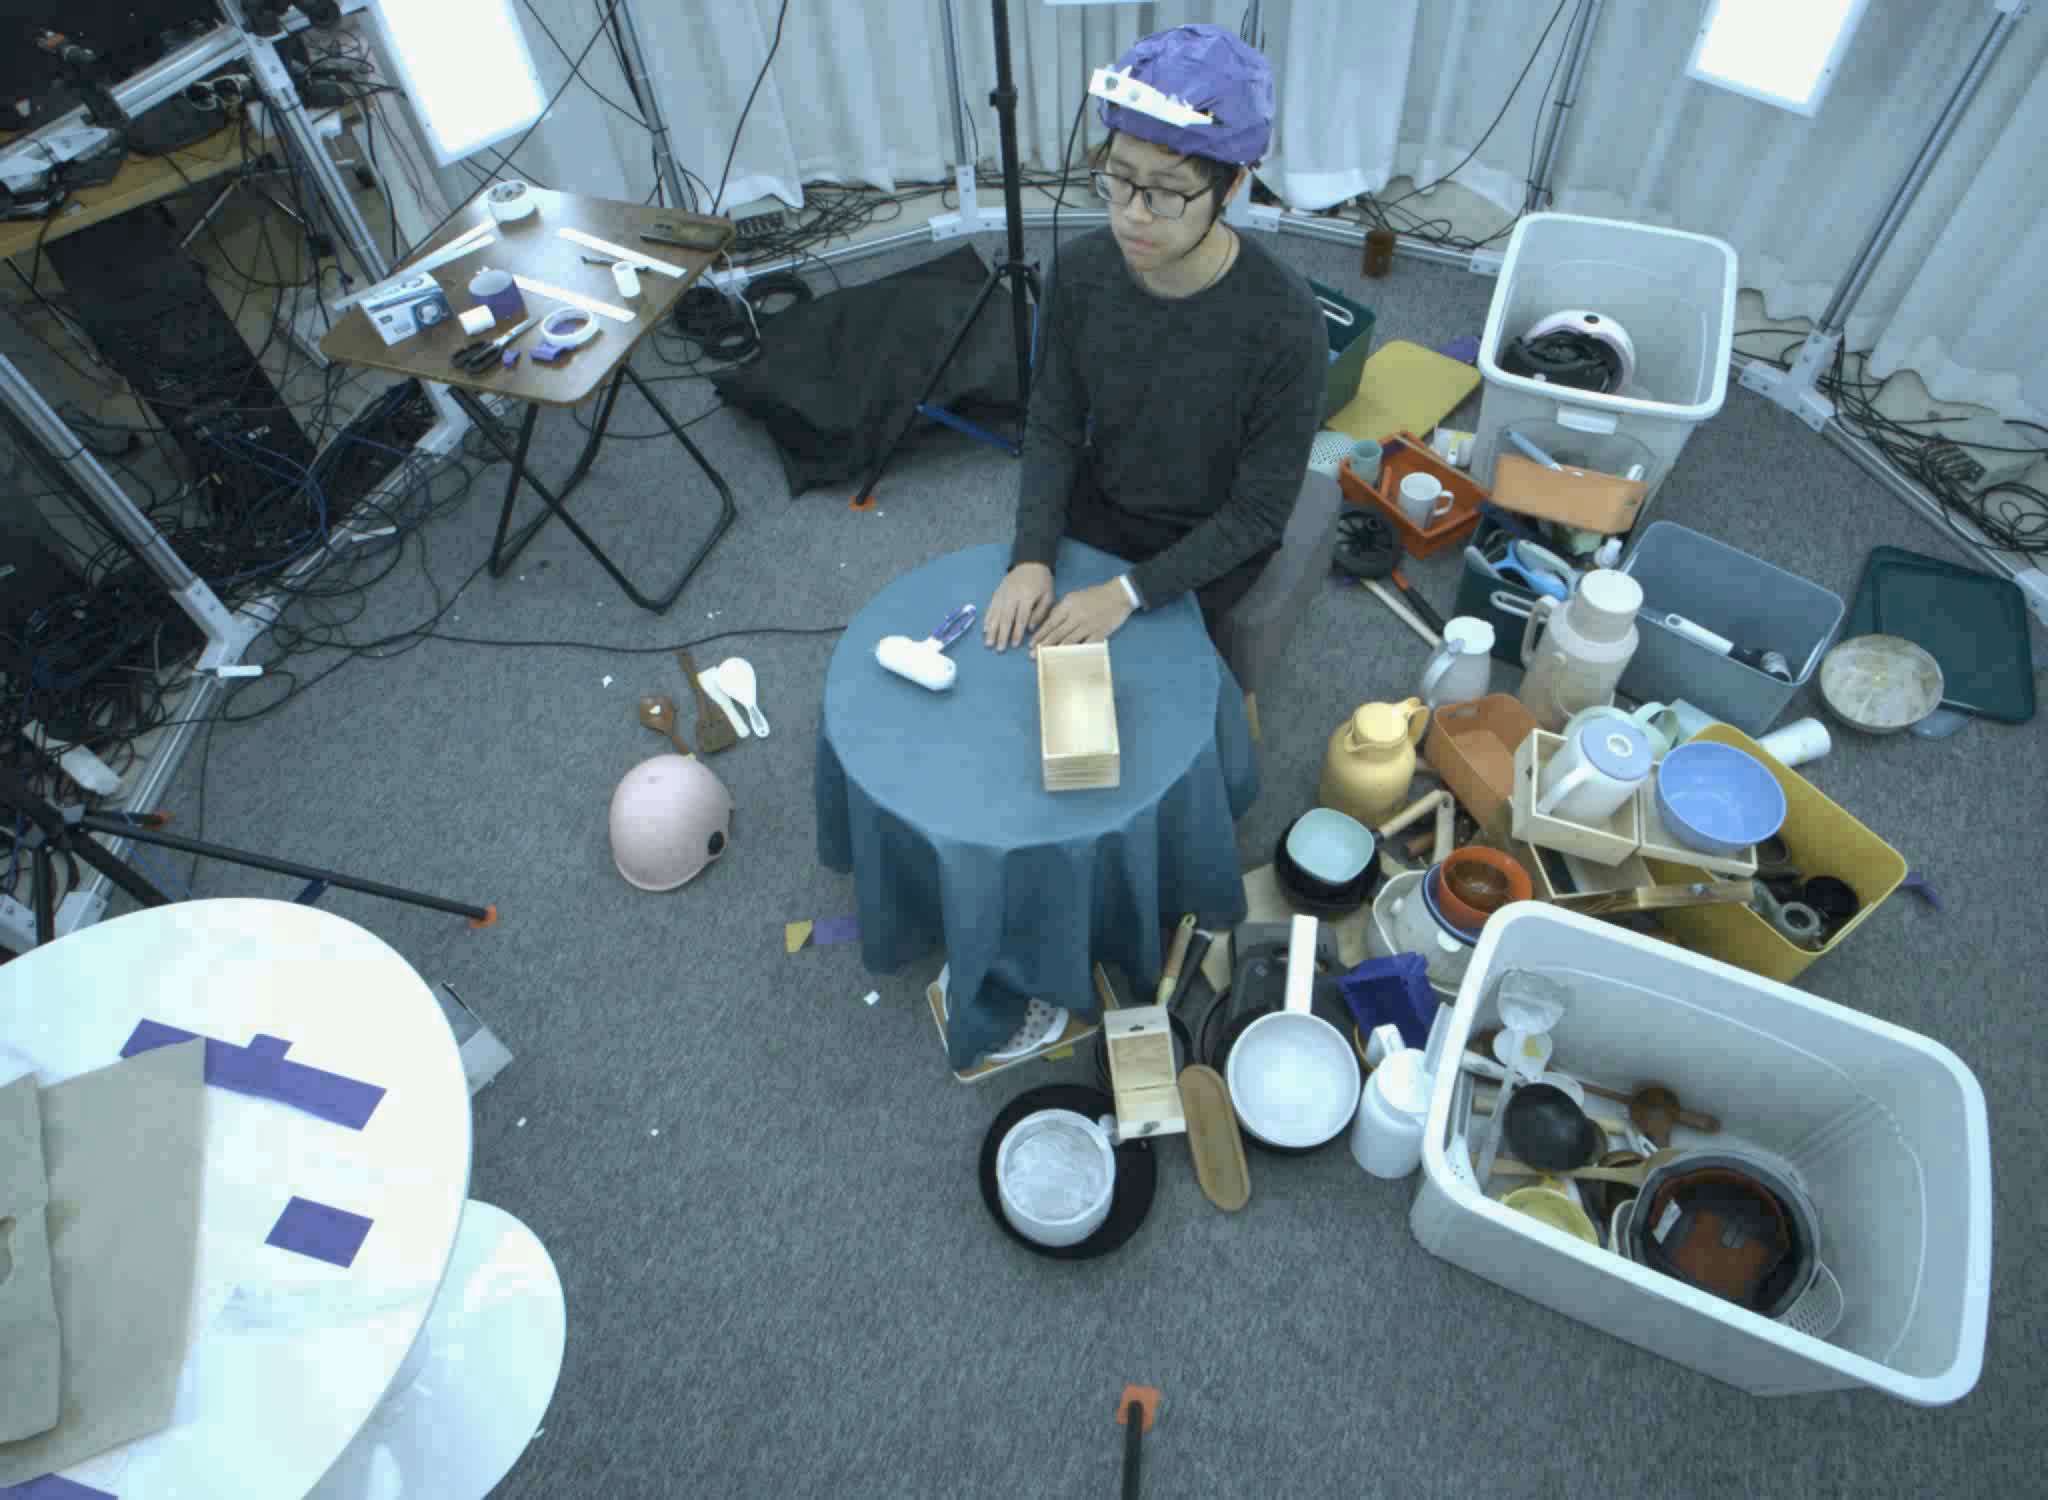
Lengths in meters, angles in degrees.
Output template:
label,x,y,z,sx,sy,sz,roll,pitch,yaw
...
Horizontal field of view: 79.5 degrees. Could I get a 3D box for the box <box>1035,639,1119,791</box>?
label,x,y,z,sx,sy,sz,roll,pitch,yaw
box,0.075,-0.052,1.773,0.107,0.081,0.209,-4,54,0

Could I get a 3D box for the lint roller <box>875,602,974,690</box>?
label,x,y,z,sx,sy,sz,roll,pitch,yaw
lint roller,-0.132,-0.176,1.887,0.131,0.051,0.181,27,62,21
